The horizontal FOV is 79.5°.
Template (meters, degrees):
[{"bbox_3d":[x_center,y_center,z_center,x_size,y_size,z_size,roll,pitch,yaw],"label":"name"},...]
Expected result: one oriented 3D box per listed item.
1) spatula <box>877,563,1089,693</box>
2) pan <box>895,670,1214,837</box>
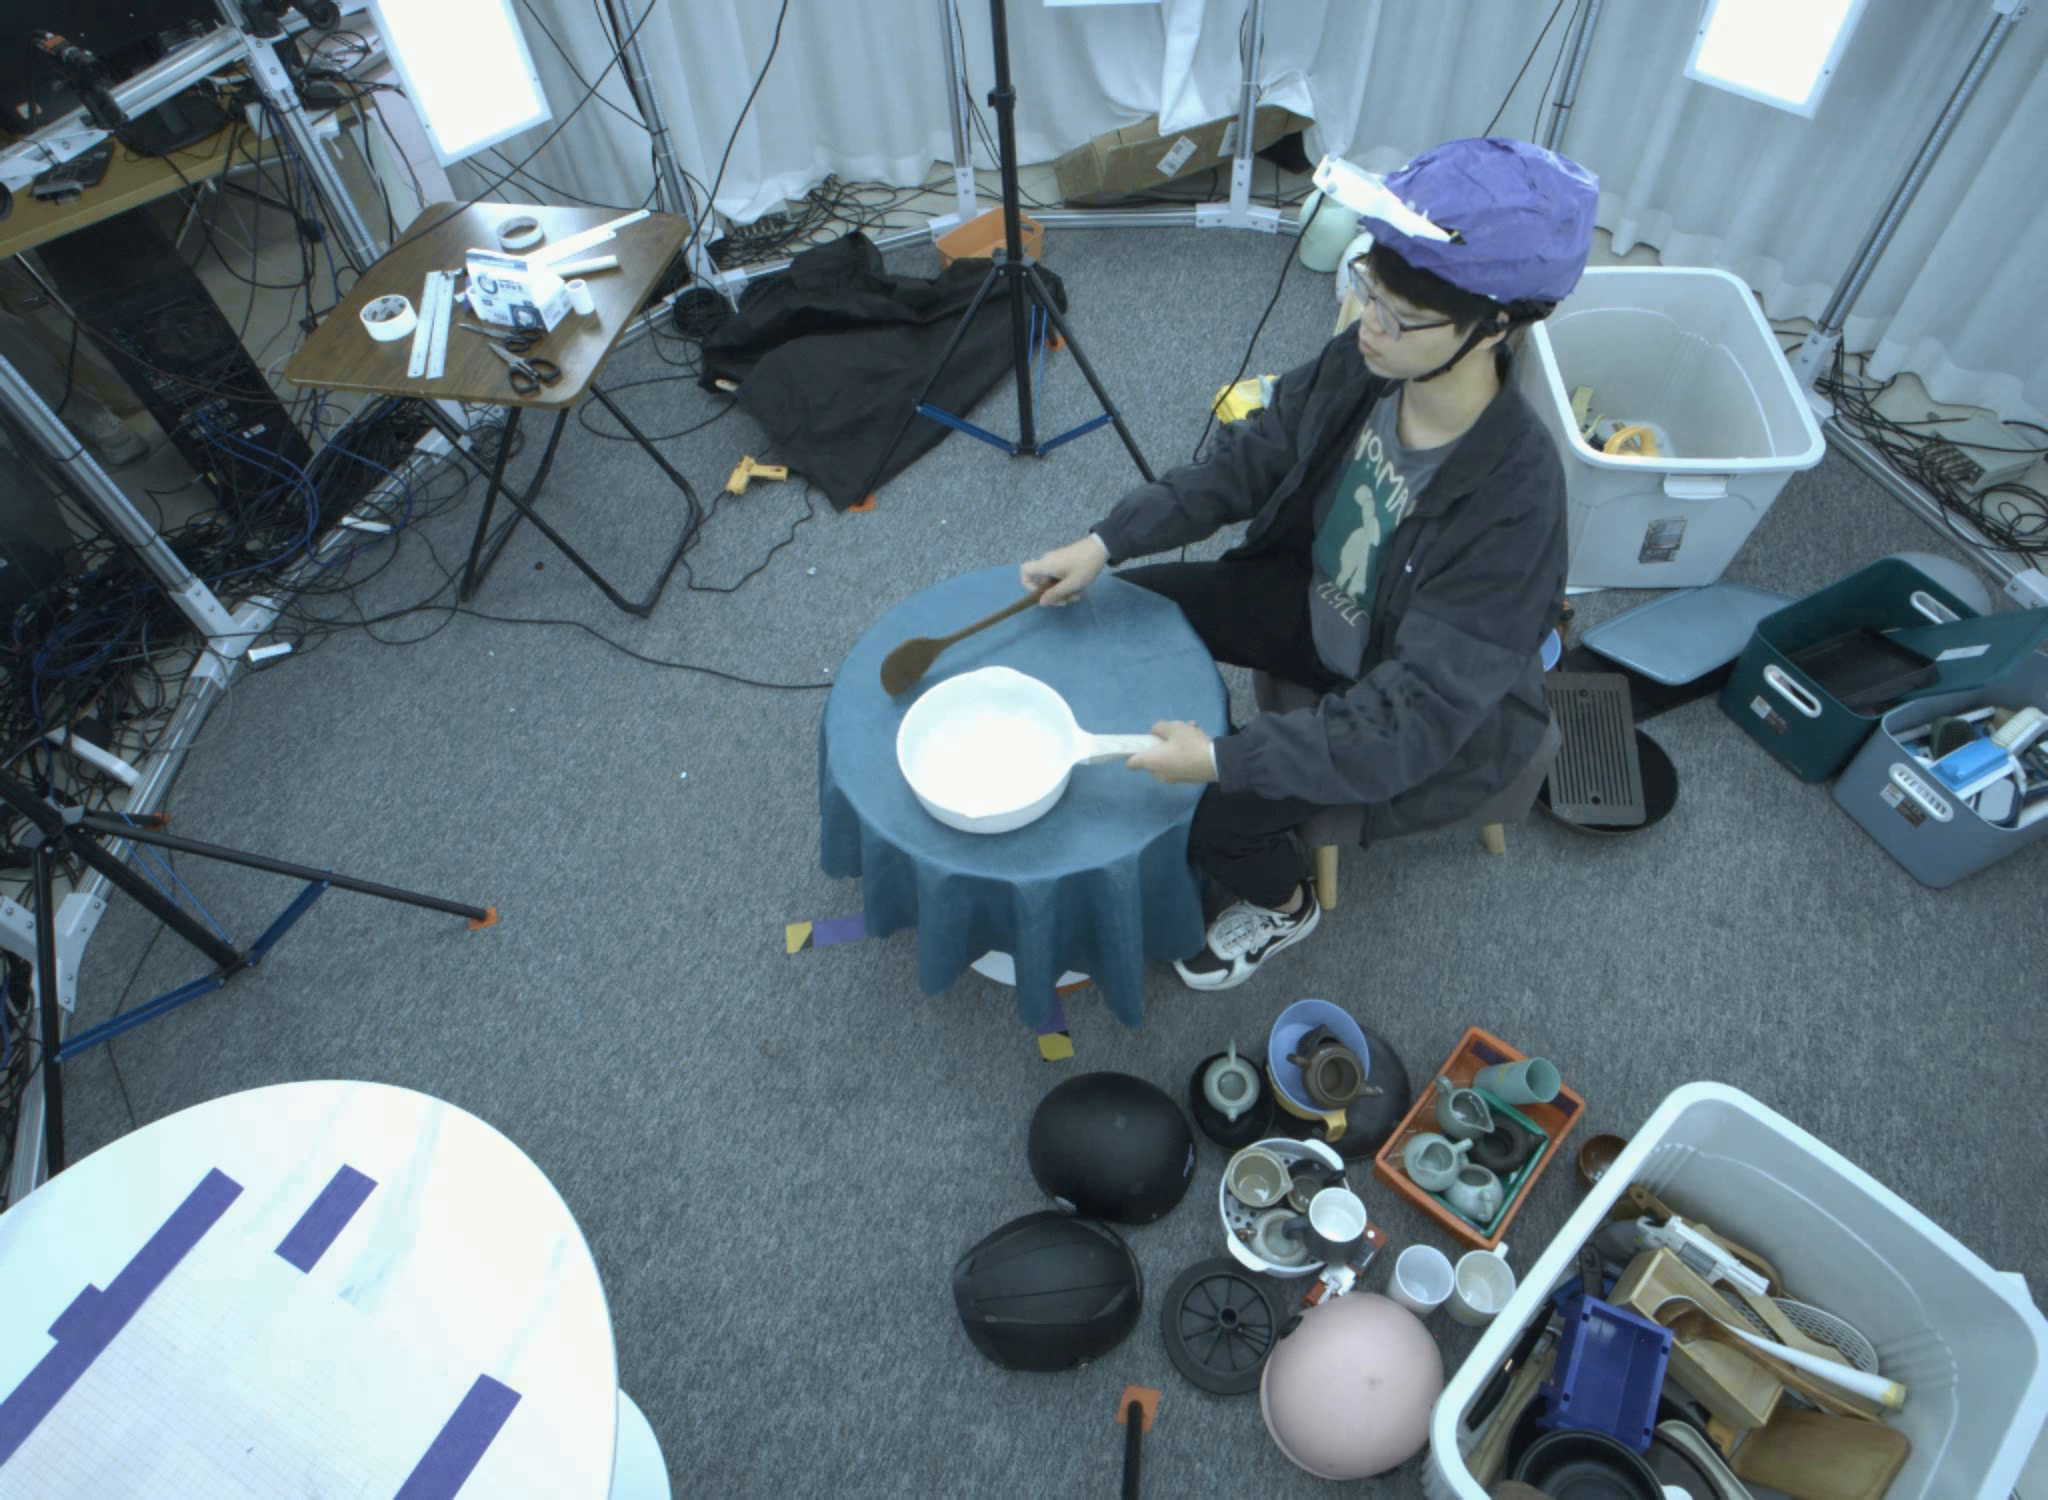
[{"bbox_3d":[-0.057,-0.197,1.866,0.389,0.097,0.015,-29,61,-19],"label":"spatula"},{"bbox_3d":[0.042,0.013,1.705,0.433,0.103,0.261,3,53,5],"label":"pan"}]
